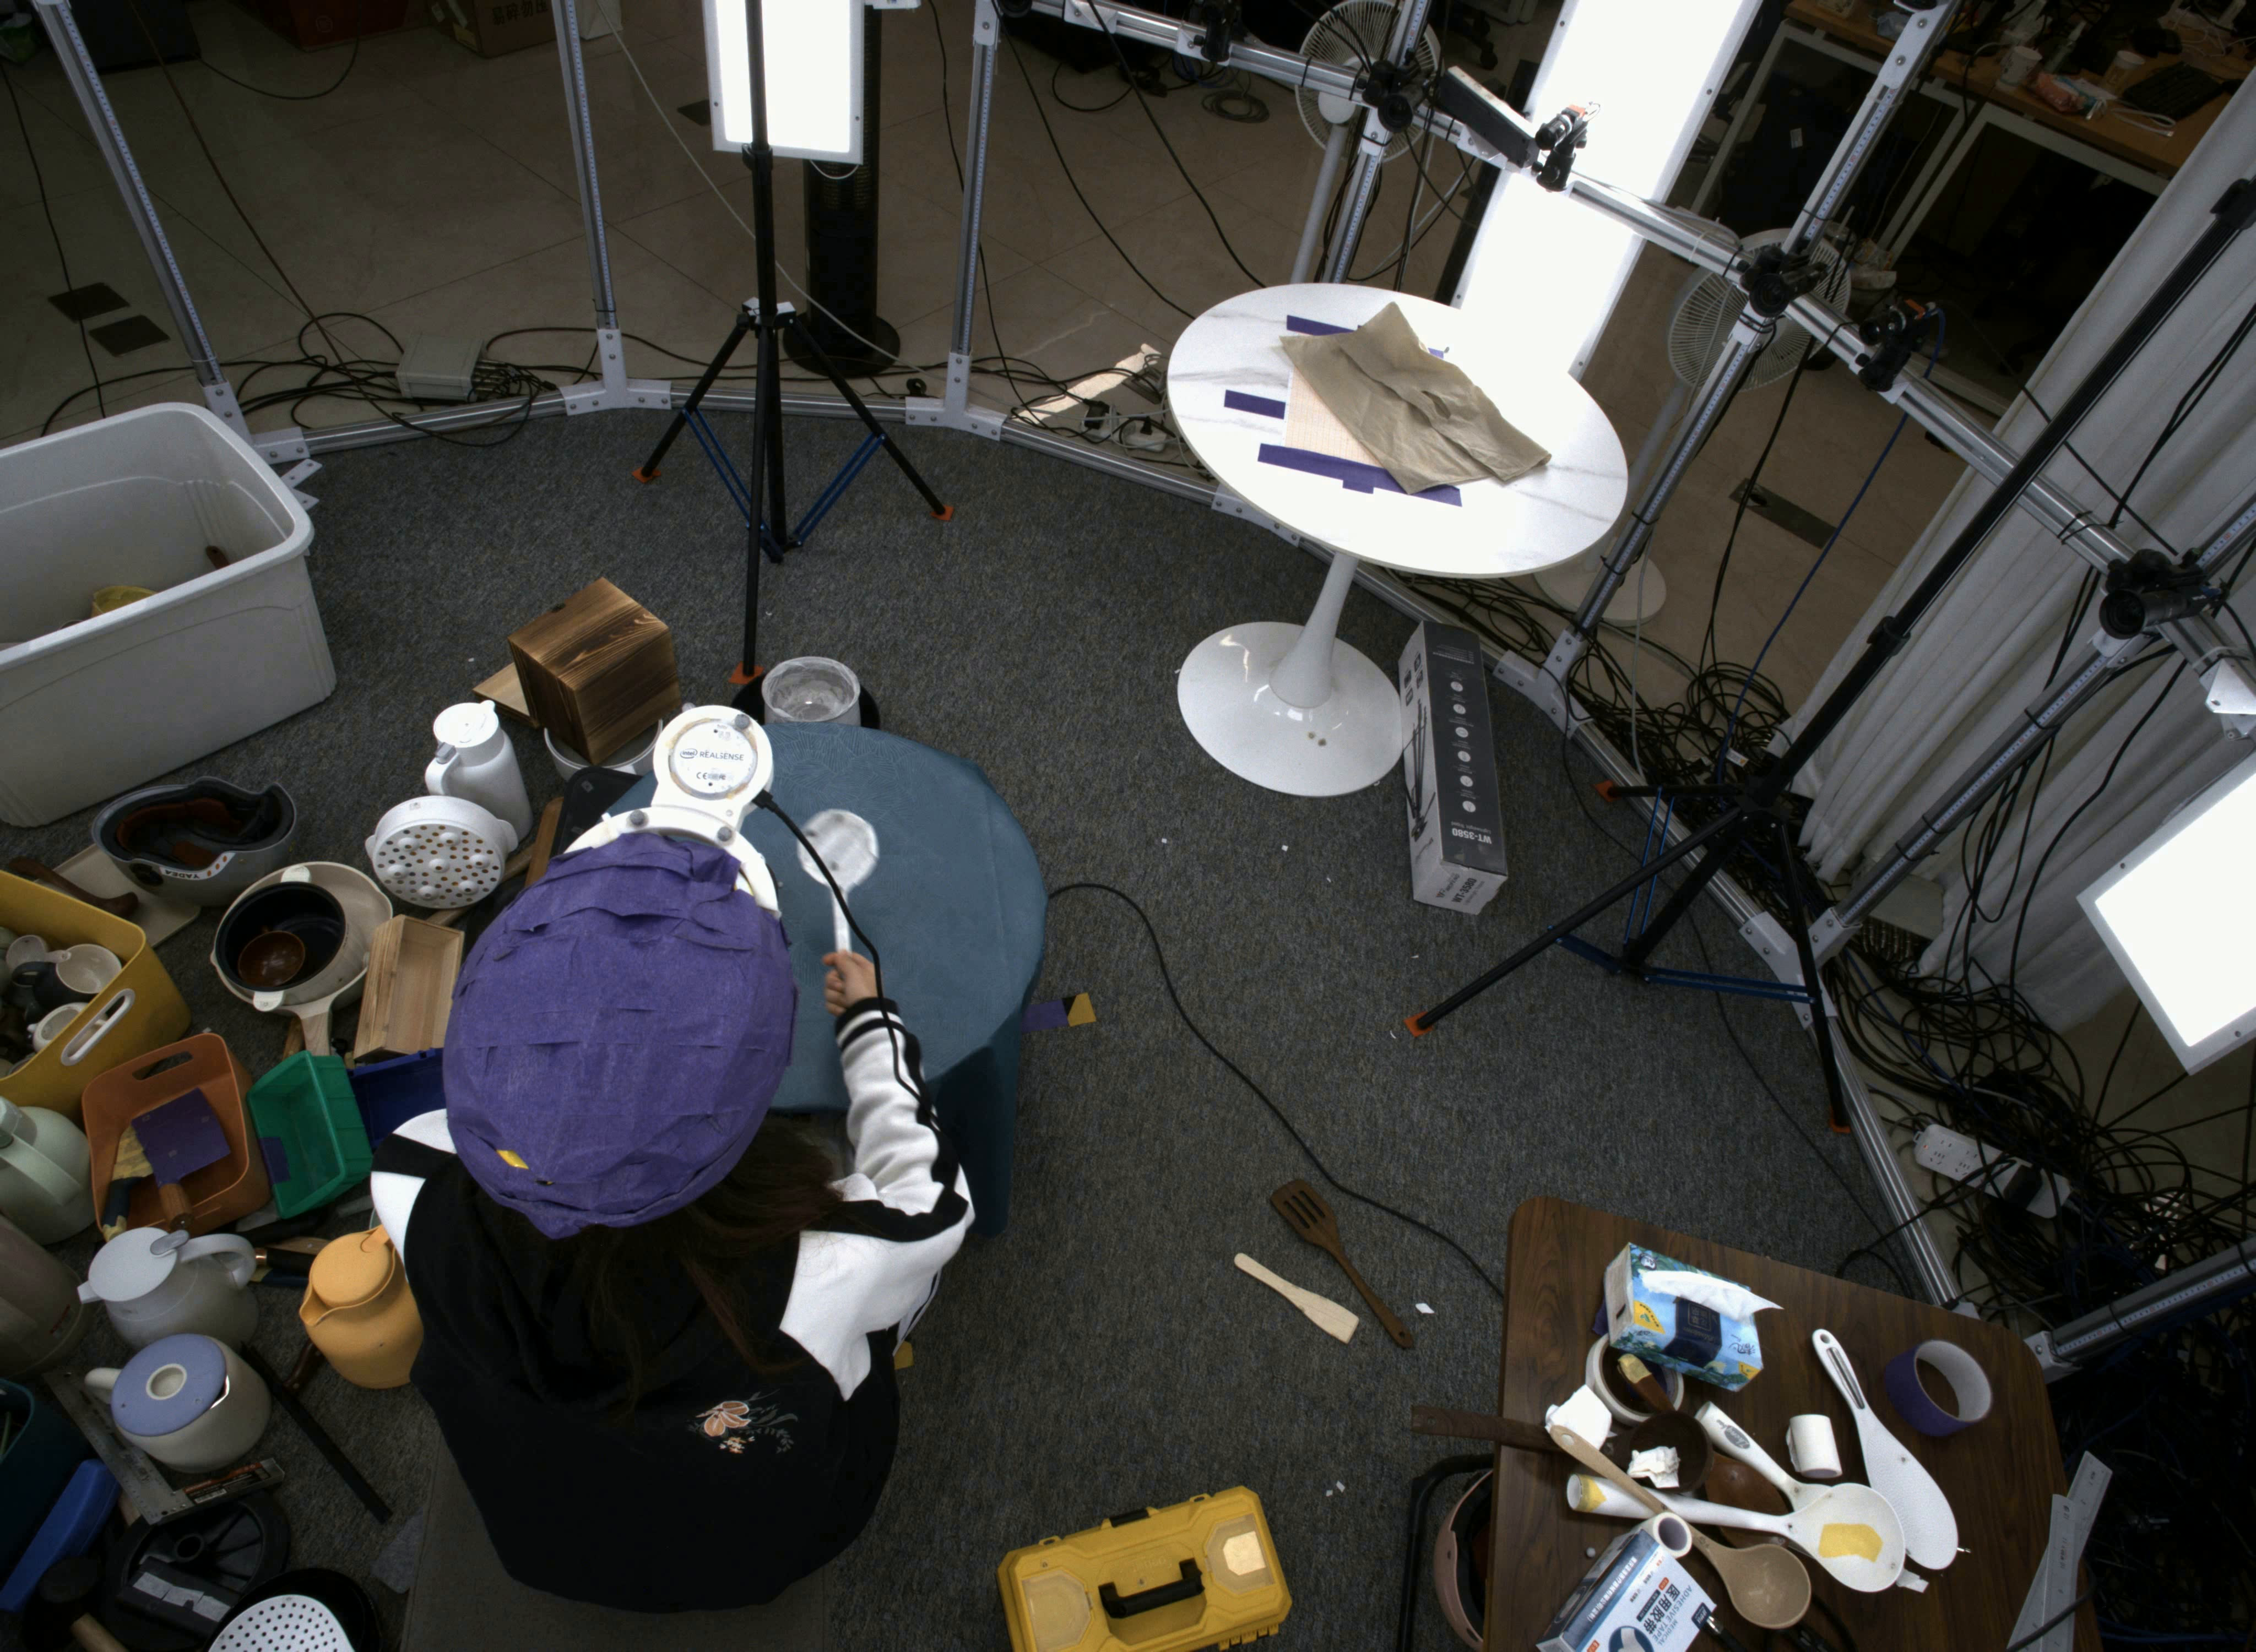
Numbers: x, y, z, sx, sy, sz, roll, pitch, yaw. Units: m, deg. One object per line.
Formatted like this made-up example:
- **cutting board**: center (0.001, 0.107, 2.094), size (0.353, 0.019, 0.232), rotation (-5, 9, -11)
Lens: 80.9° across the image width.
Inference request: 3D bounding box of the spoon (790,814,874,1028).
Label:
- **spoon**: center (-0.340, 0.102, 1.499), size (0.101, 0.060, 0.270), rotation (2, 46, -17)

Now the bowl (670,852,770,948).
- **bowl**: center (-0.498, 0.095, 1.581), size (0.118, 0.071, 0.116), rotation (7, 52, -8)
